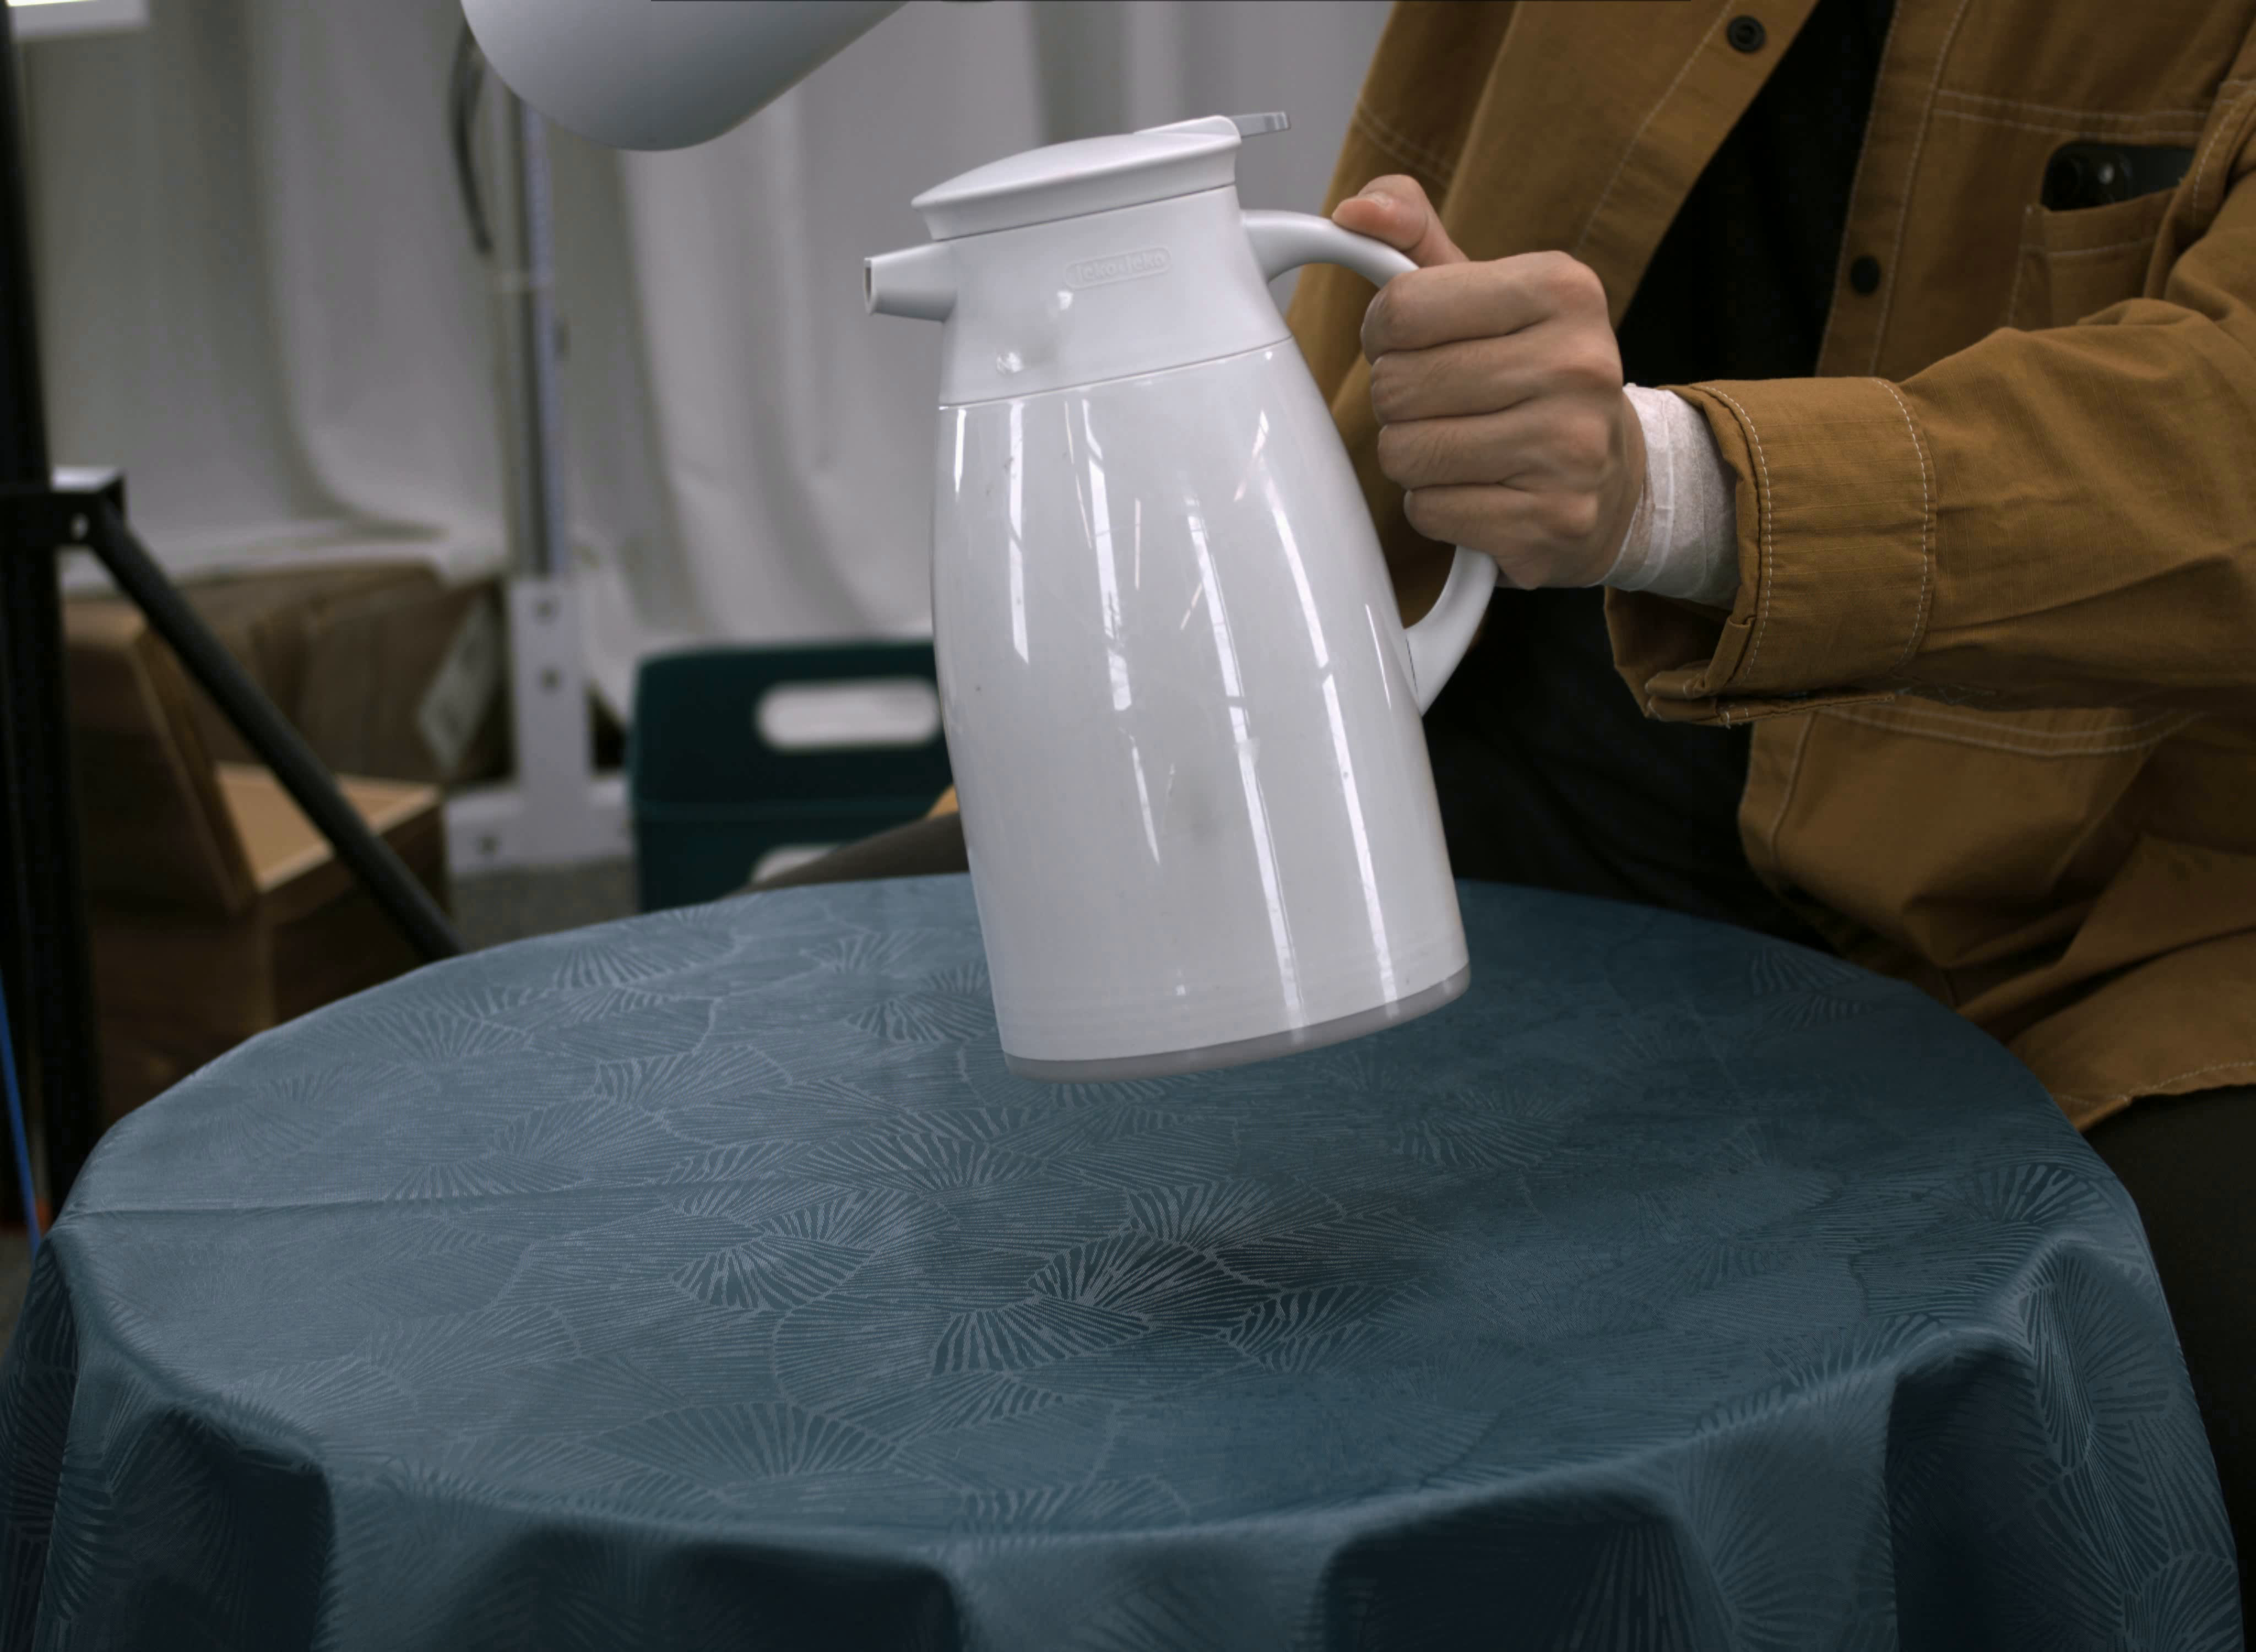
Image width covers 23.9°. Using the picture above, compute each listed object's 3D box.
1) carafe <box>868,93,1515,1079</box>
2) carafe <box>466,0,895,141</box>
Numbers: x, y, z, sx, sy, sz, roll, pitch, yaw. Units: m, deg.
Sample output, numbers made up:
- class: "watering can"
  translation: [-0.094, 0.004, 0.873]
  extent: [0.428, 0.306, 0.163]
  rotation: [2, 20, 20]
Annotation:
- class: "carafe"
  translation: [0.027, -0.071, 1.454]
  extent: [0.166, 0.249, 0.133]
  rotation: [-11, 6, -8]
- class: "carafe"
  translation: [-0.112, -0.303, 1.560]
  extent: [0.122, 0.173, 0.272]
  rotation: [-26, 2, -23]
